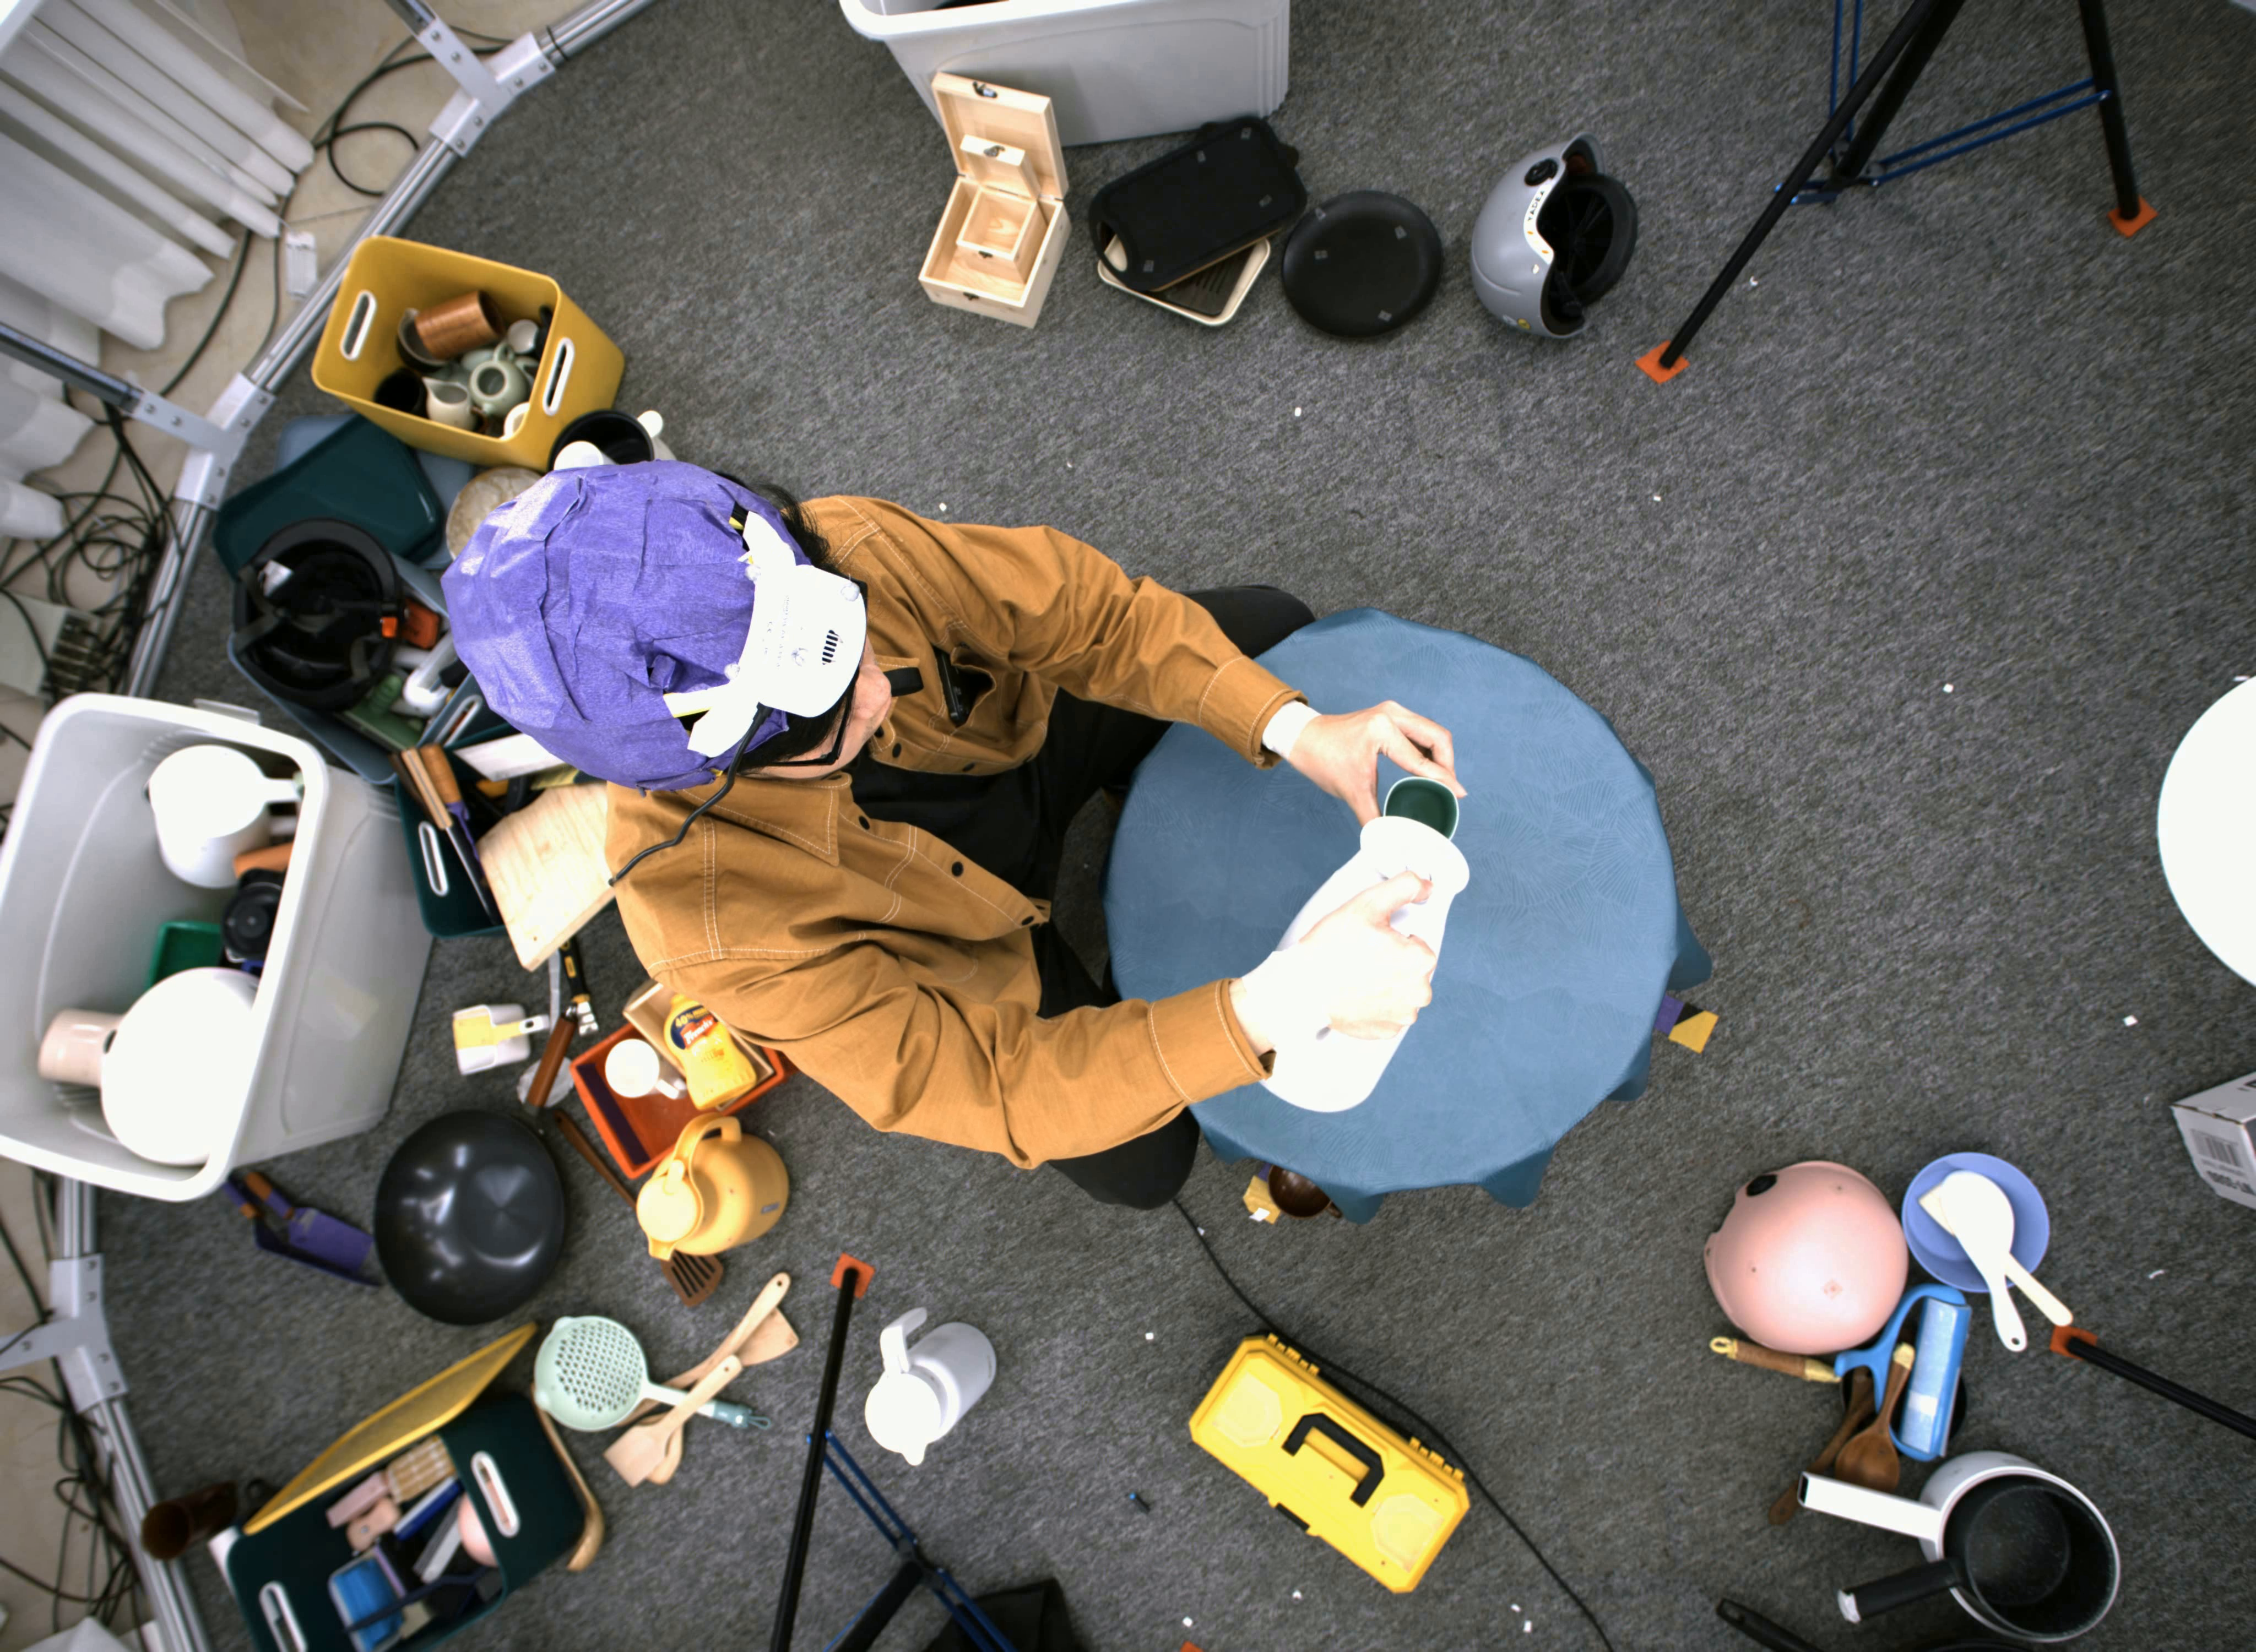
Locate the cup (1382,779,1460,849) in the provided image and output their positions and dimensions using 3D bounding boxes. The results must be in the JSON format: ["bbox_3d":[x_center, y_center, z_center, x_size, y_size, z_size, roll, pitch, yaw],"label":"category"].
[{"bbox_3d":[0.258,-0.009,1.232,0.067,0.132,0.066,0,89,9],"label":"cup"}]

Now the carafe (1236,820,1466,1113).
[{"bbox_3d":[0.188,0.122,1.140,0.132,0.163,0.255,21,129,0],"label":"carafe"}]
